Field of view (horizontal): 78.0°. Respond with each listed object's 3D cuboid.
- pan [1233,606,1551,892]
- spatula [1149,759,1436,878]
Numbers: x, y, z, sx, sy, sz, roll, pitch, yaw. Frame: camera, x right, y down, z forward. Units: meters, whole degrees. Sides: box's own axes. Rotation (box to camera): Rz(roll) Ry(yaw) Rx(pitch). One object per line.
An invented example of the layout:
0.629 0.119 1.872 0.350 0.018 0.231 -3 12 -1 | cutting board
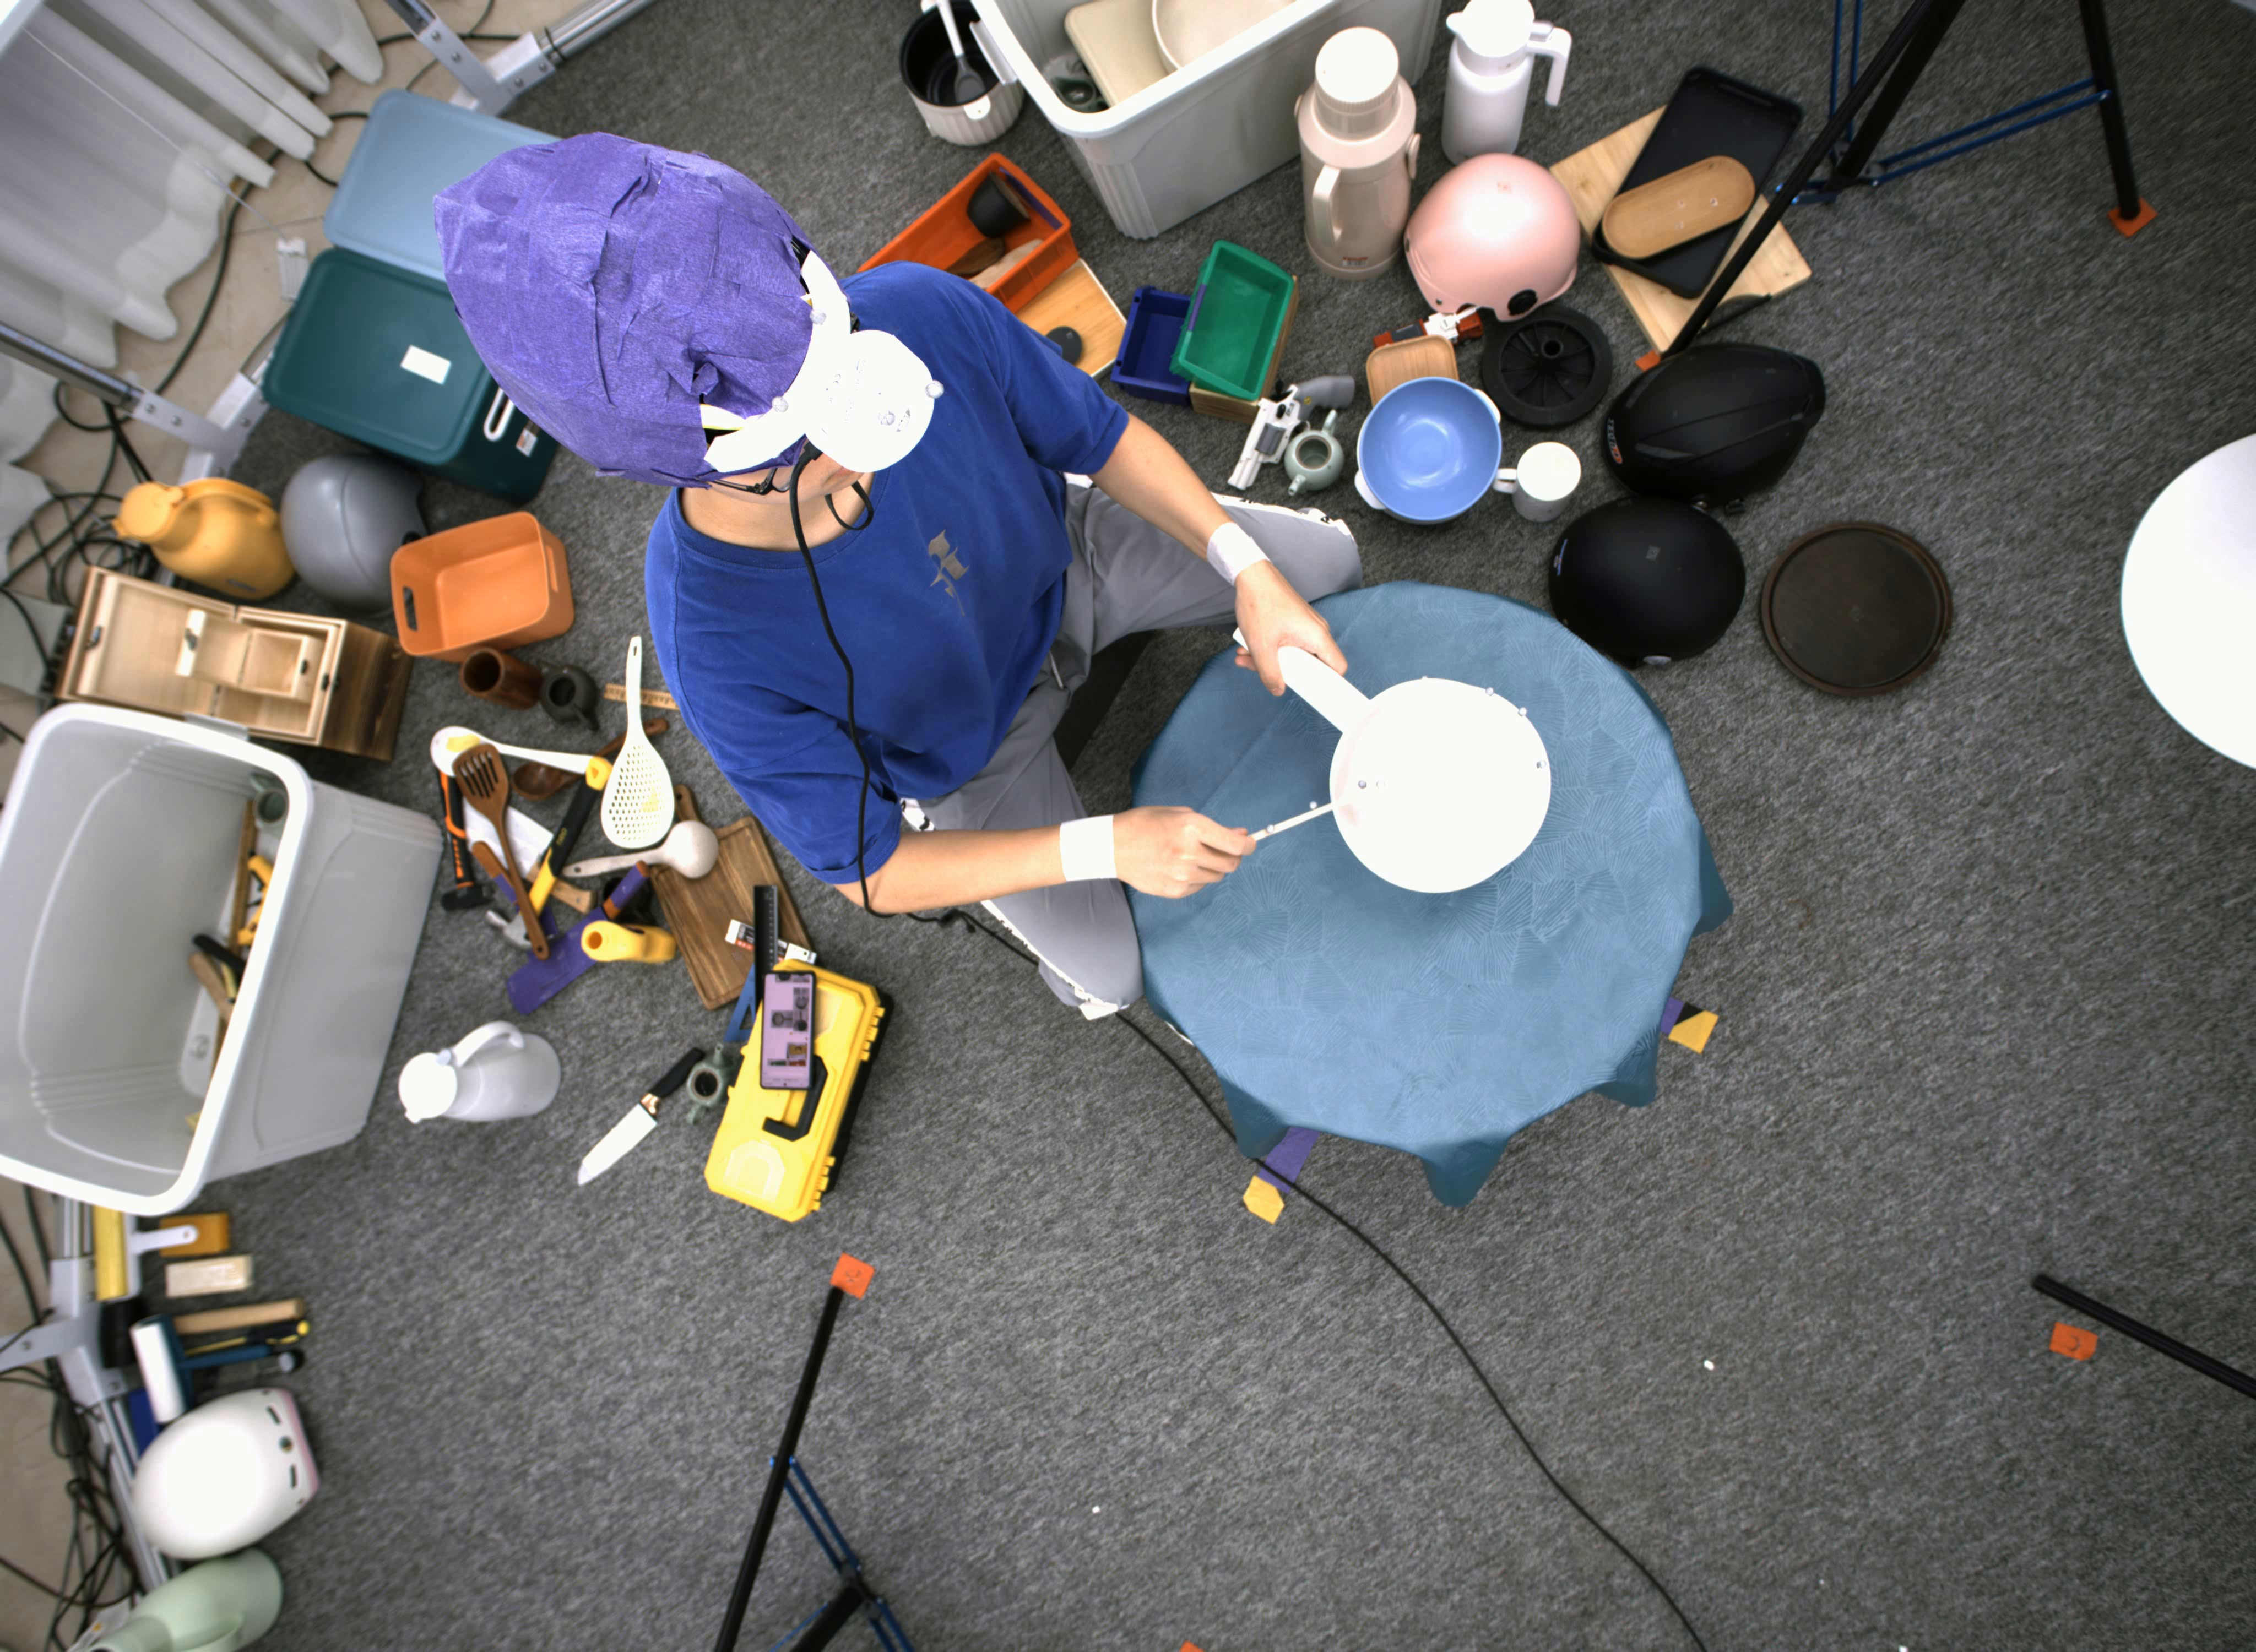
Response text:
0.255 -0.093 1.357 0.352 0.101 0.205 44 118 18 | pan
0.156 -0.006 1.323 0.294 0.072 0.010 -22 89 5 | spatula
